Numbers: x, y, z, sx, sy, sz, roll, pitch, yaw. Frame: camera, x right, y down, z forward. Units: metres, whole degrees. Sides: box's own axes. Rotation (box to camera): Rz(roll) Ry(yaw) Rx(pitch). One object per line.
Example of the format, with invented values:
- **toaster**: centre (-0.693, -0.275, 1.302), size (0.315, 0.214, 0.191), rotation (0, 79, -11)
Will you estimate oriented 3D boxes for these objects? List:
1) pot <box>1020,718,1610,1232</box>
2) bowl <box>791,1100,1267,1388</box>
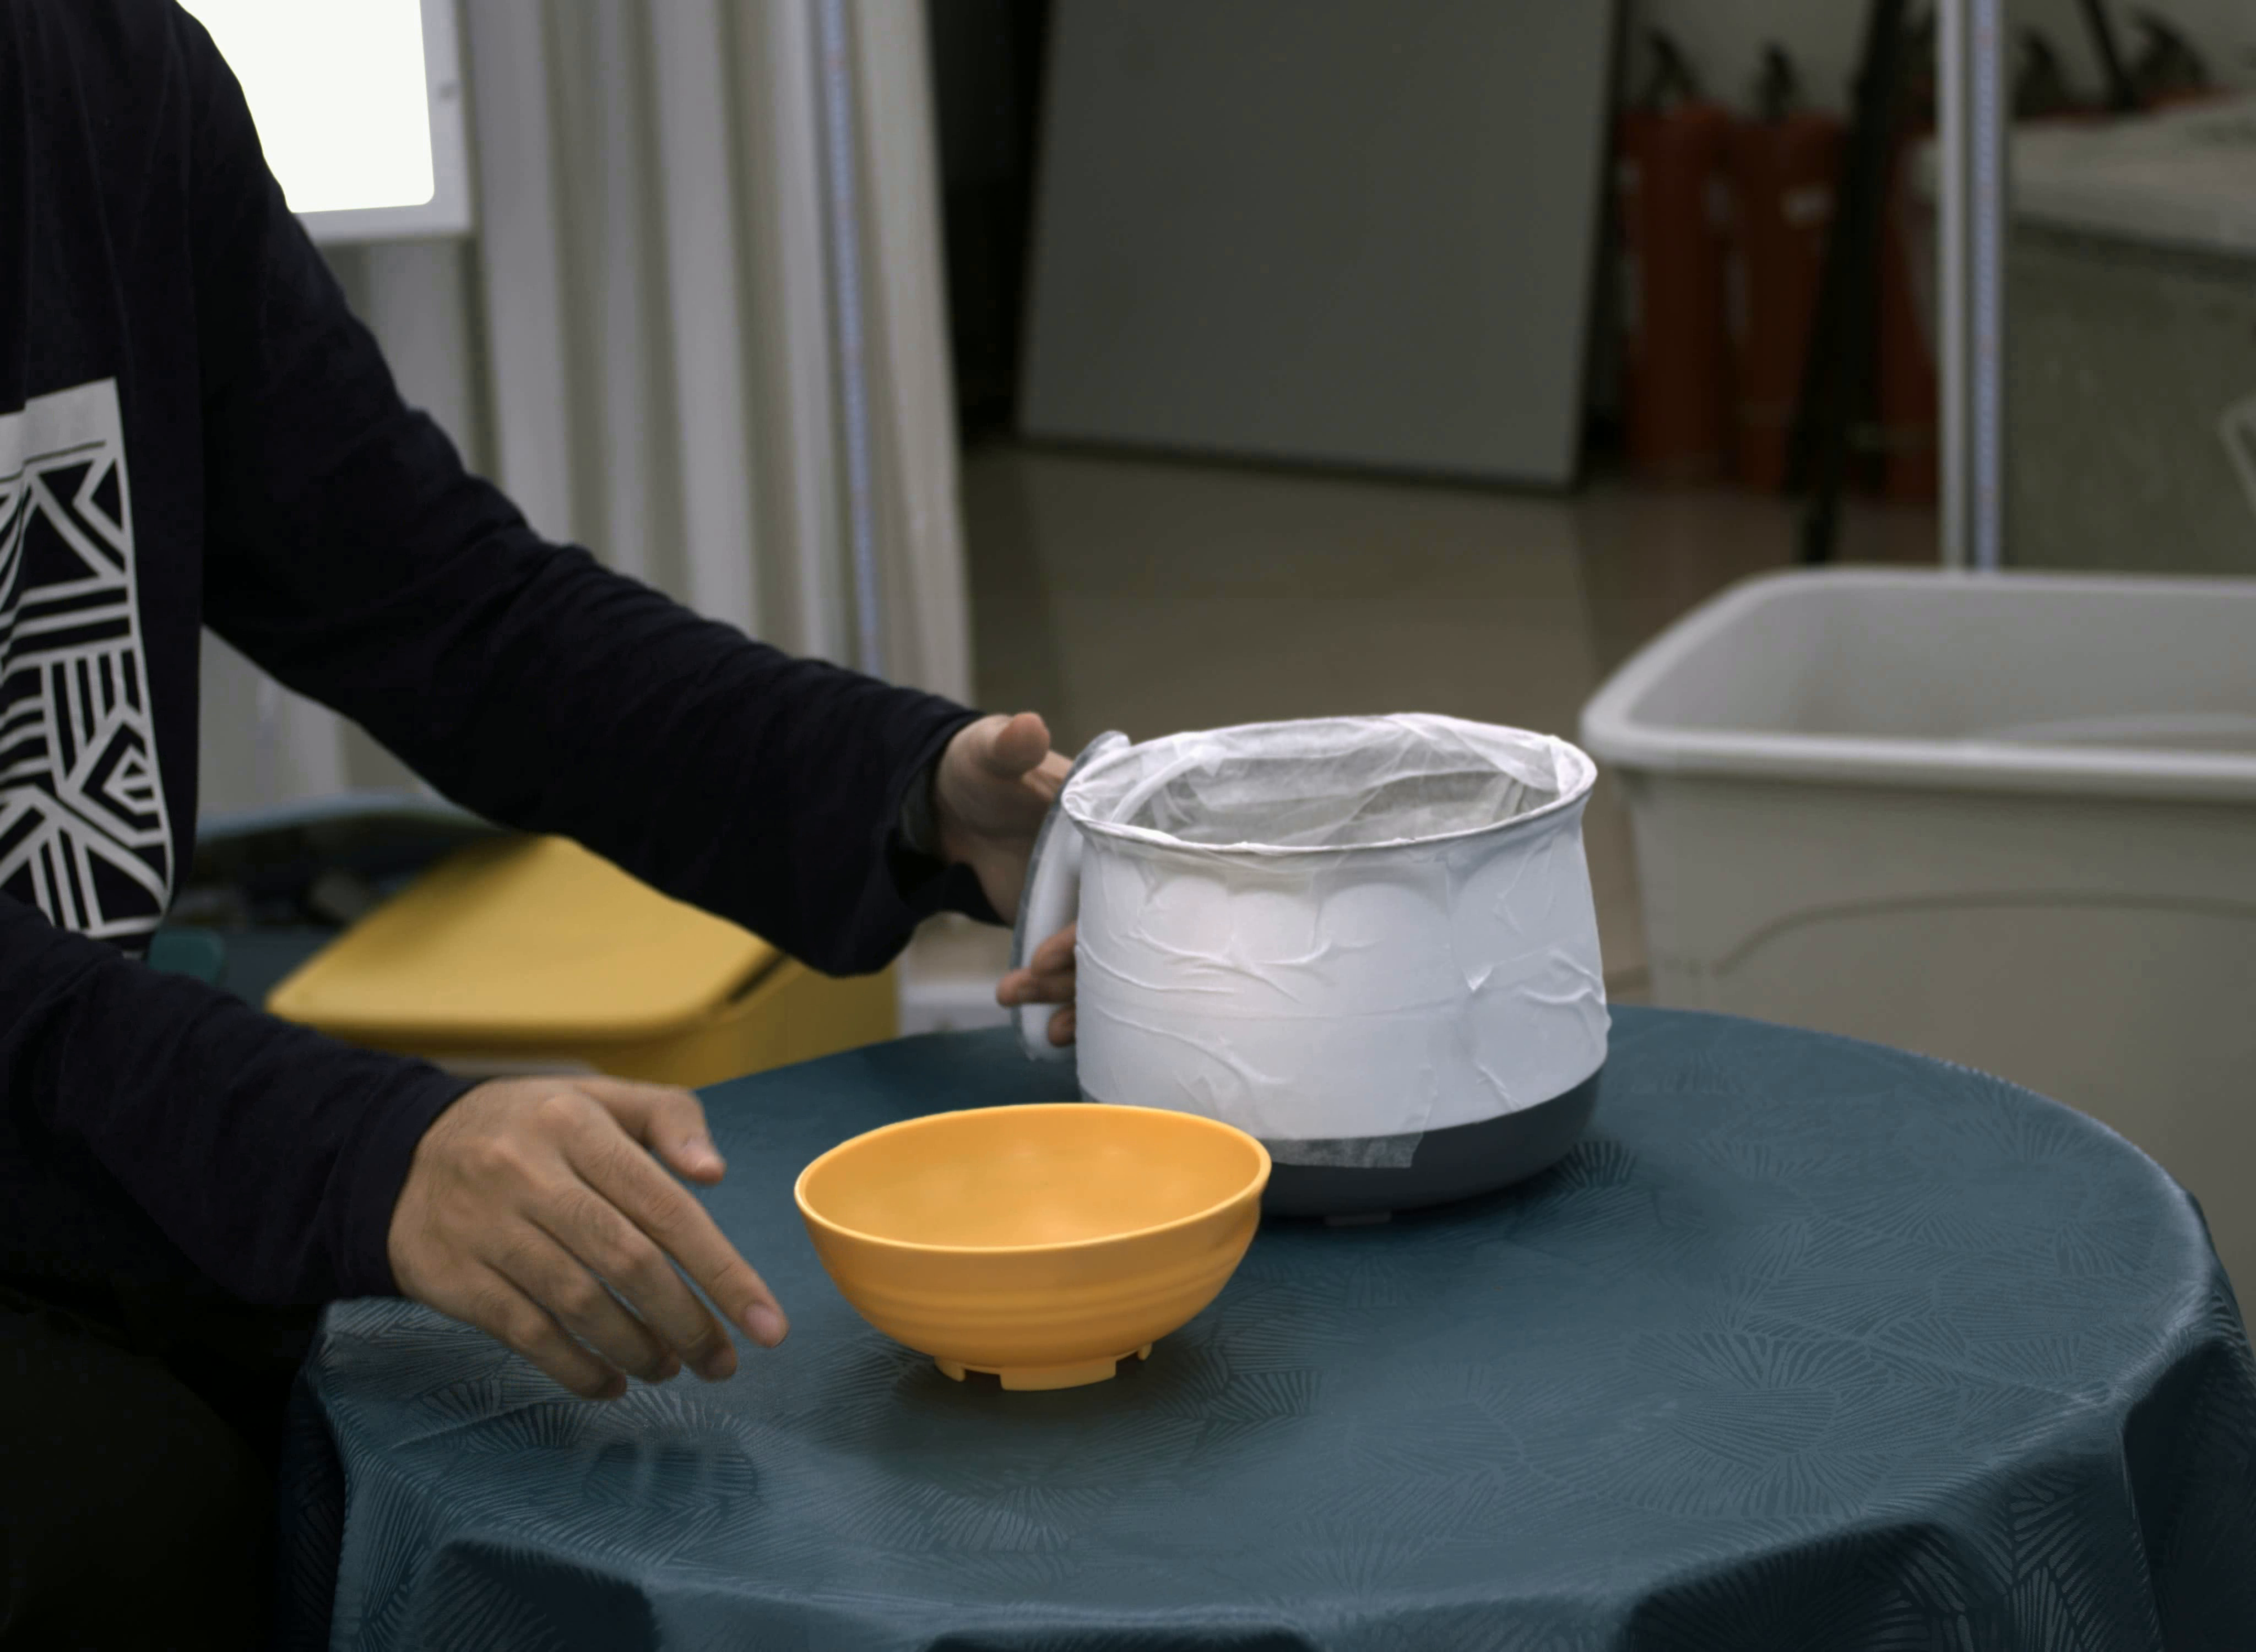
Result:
- **pot**: centre (0.050, 0.044, 1.794), size (0.236, 0.138, 0.175), rotation (7, 17, 44)
- **bowl**: centre (-0.029, 0.130, 1.615), size (0.143, 0.061, 0.145), rotation (-2, 13, 0)
